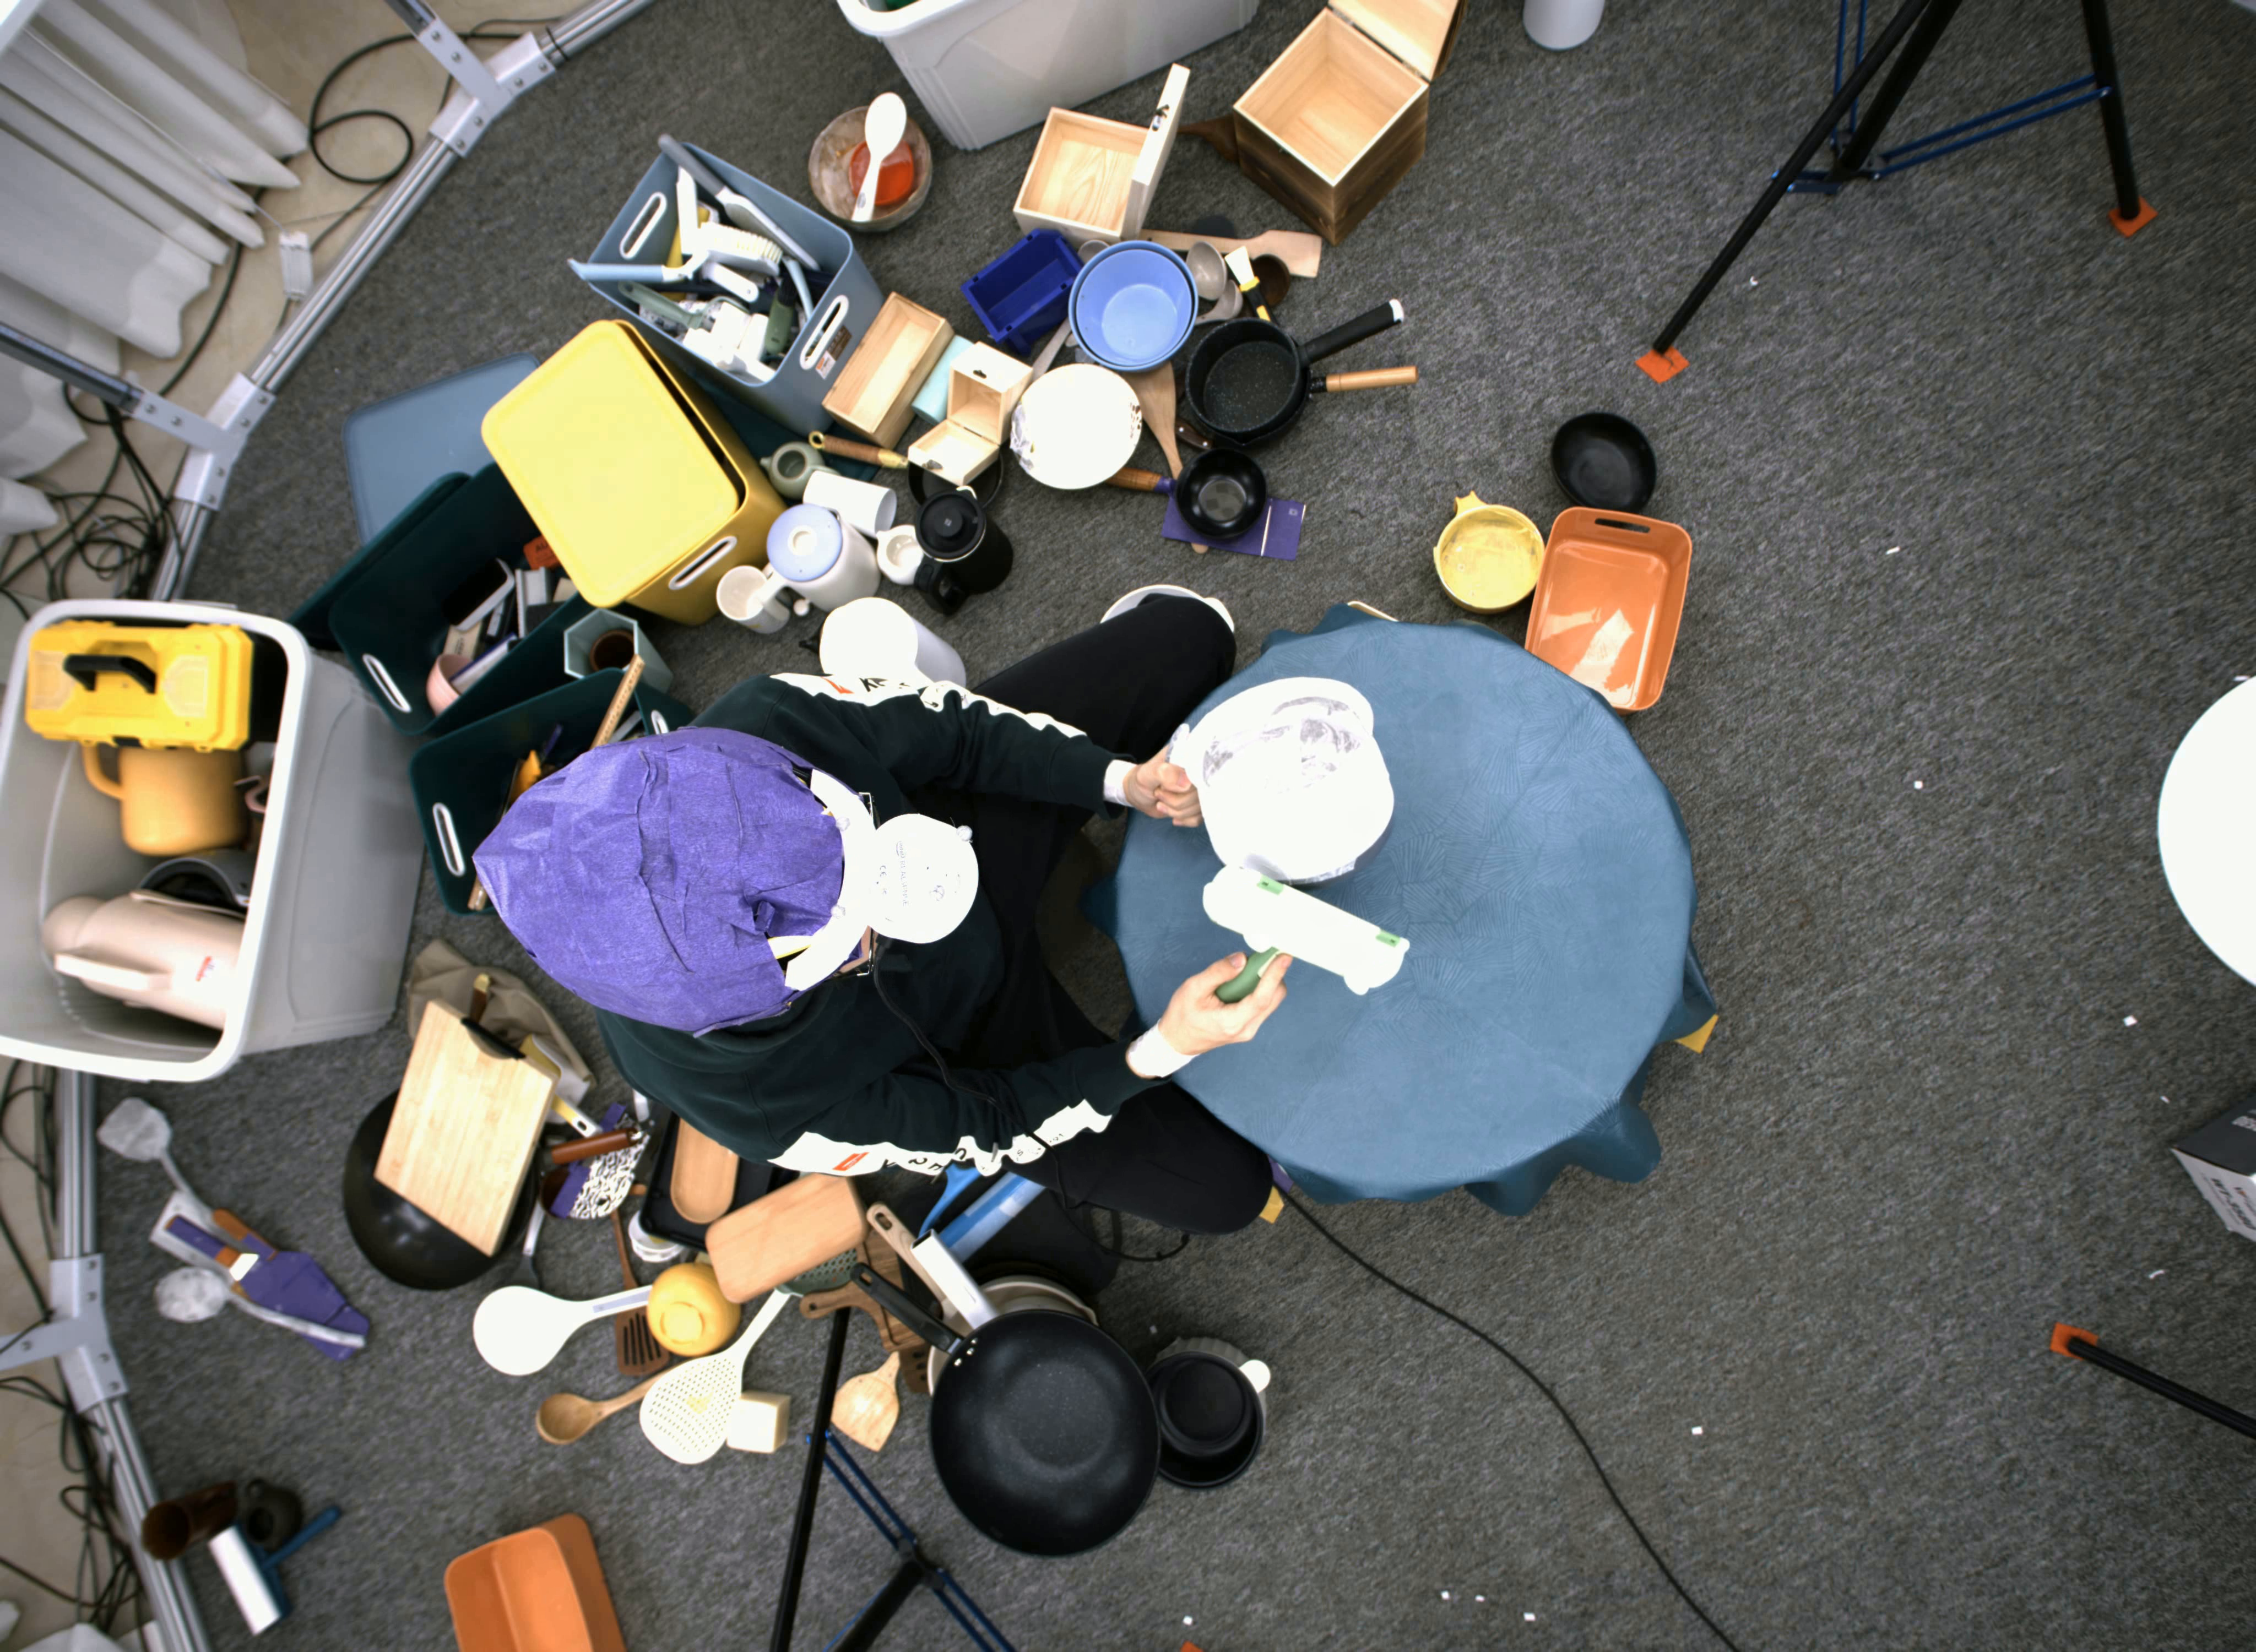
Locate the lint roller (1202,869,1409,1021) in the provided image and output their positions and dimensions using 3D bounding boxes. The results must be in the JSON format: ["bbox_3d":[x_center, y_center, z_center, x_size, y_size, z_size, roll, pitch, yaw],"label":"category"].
[{"bbox_3d":[0.130,0.136,1.262,0.199,0.080,0.187,23,122,-26],"label":"lint roller"}]

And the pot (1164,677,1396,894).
[{"bbox_3d":[0.131,-0.038,1.297,0.234,0.139,0.174,8,48,32],"label":"pot"}]
